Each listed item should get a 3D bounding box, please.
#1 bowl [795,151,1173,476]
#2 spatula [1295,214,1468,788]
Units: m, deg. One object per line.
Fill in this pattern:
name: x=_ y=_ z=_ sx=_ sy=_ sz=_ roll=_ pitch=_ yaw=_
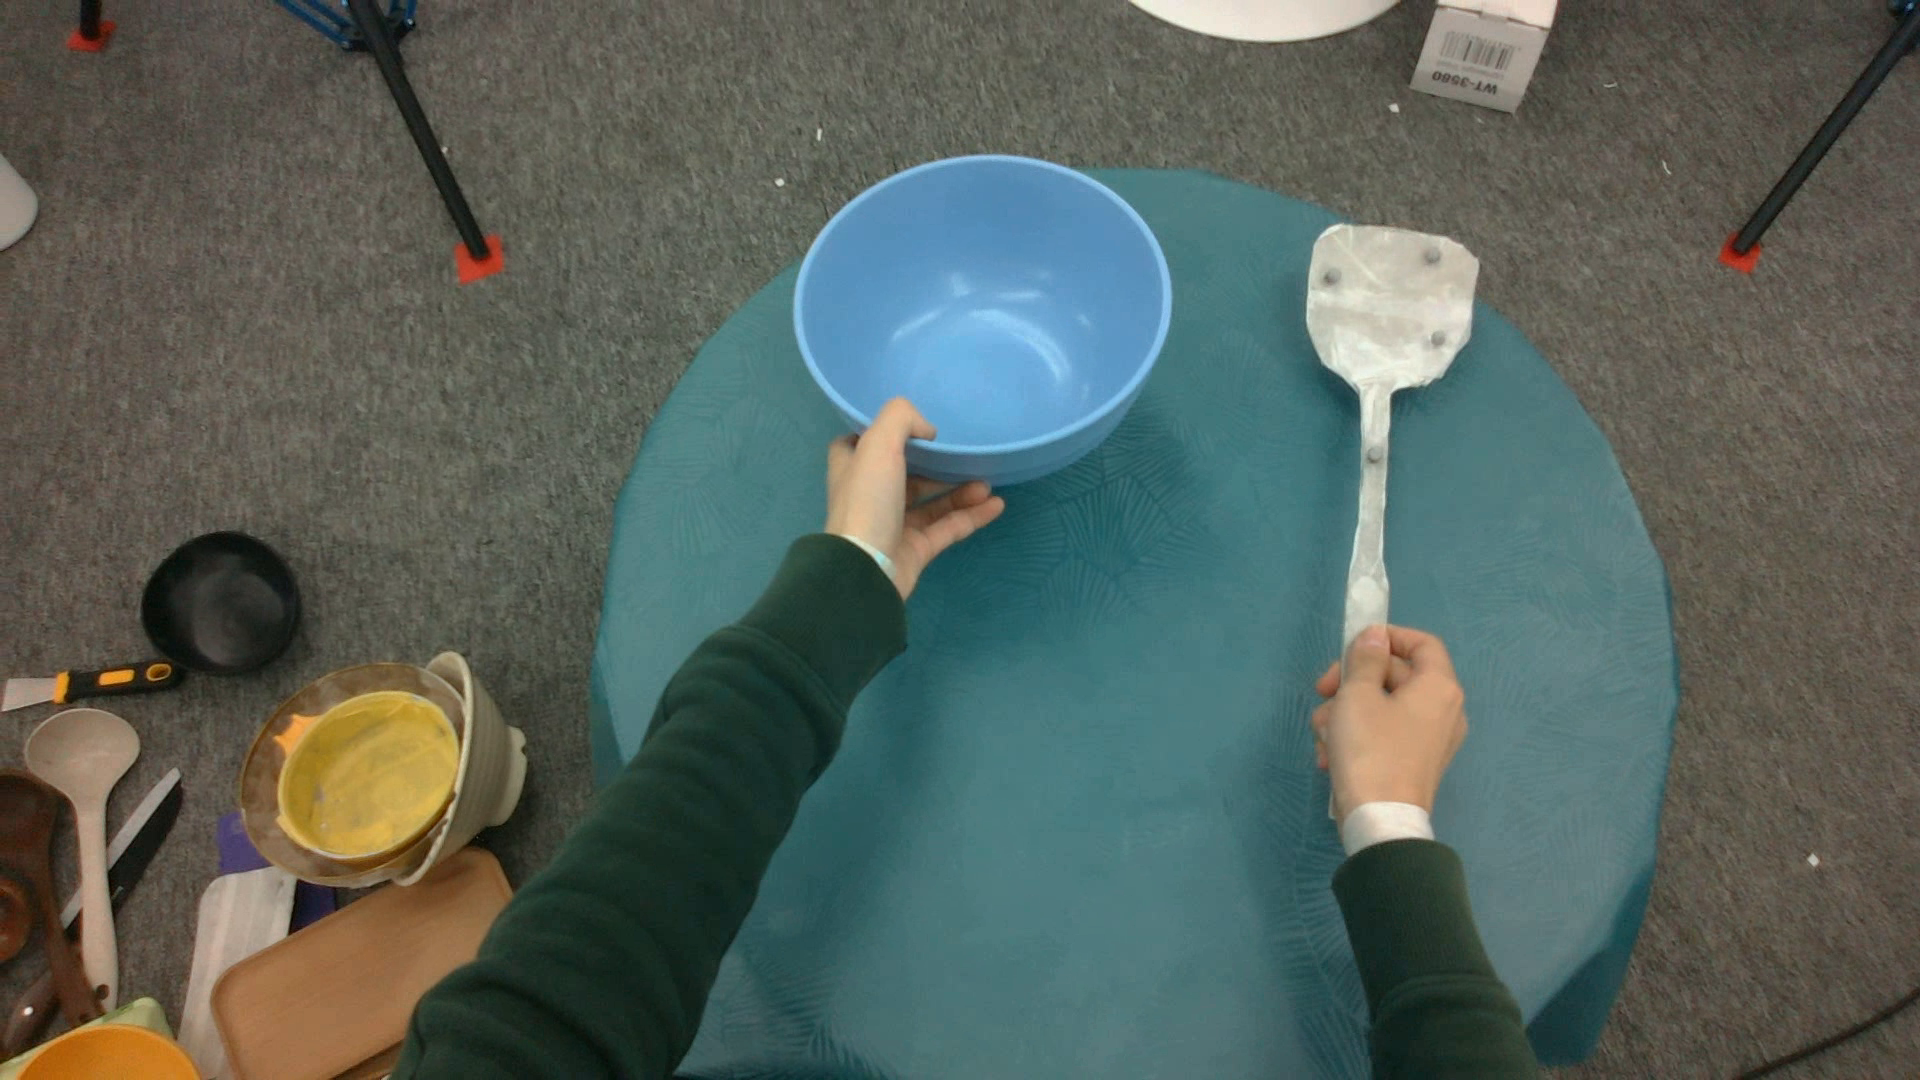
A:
bowl: x=0.013 y=-0.109 z=0.752 sx=0.196 sy=0.095 sz=0.197 roll=0 pitch=58 yaw=1
spatula: x=0.220 y=-0.035 z=0.760 sx=0.098 sy=0.044 sz=0.366 roll=13 pitch=58 yaw=4
